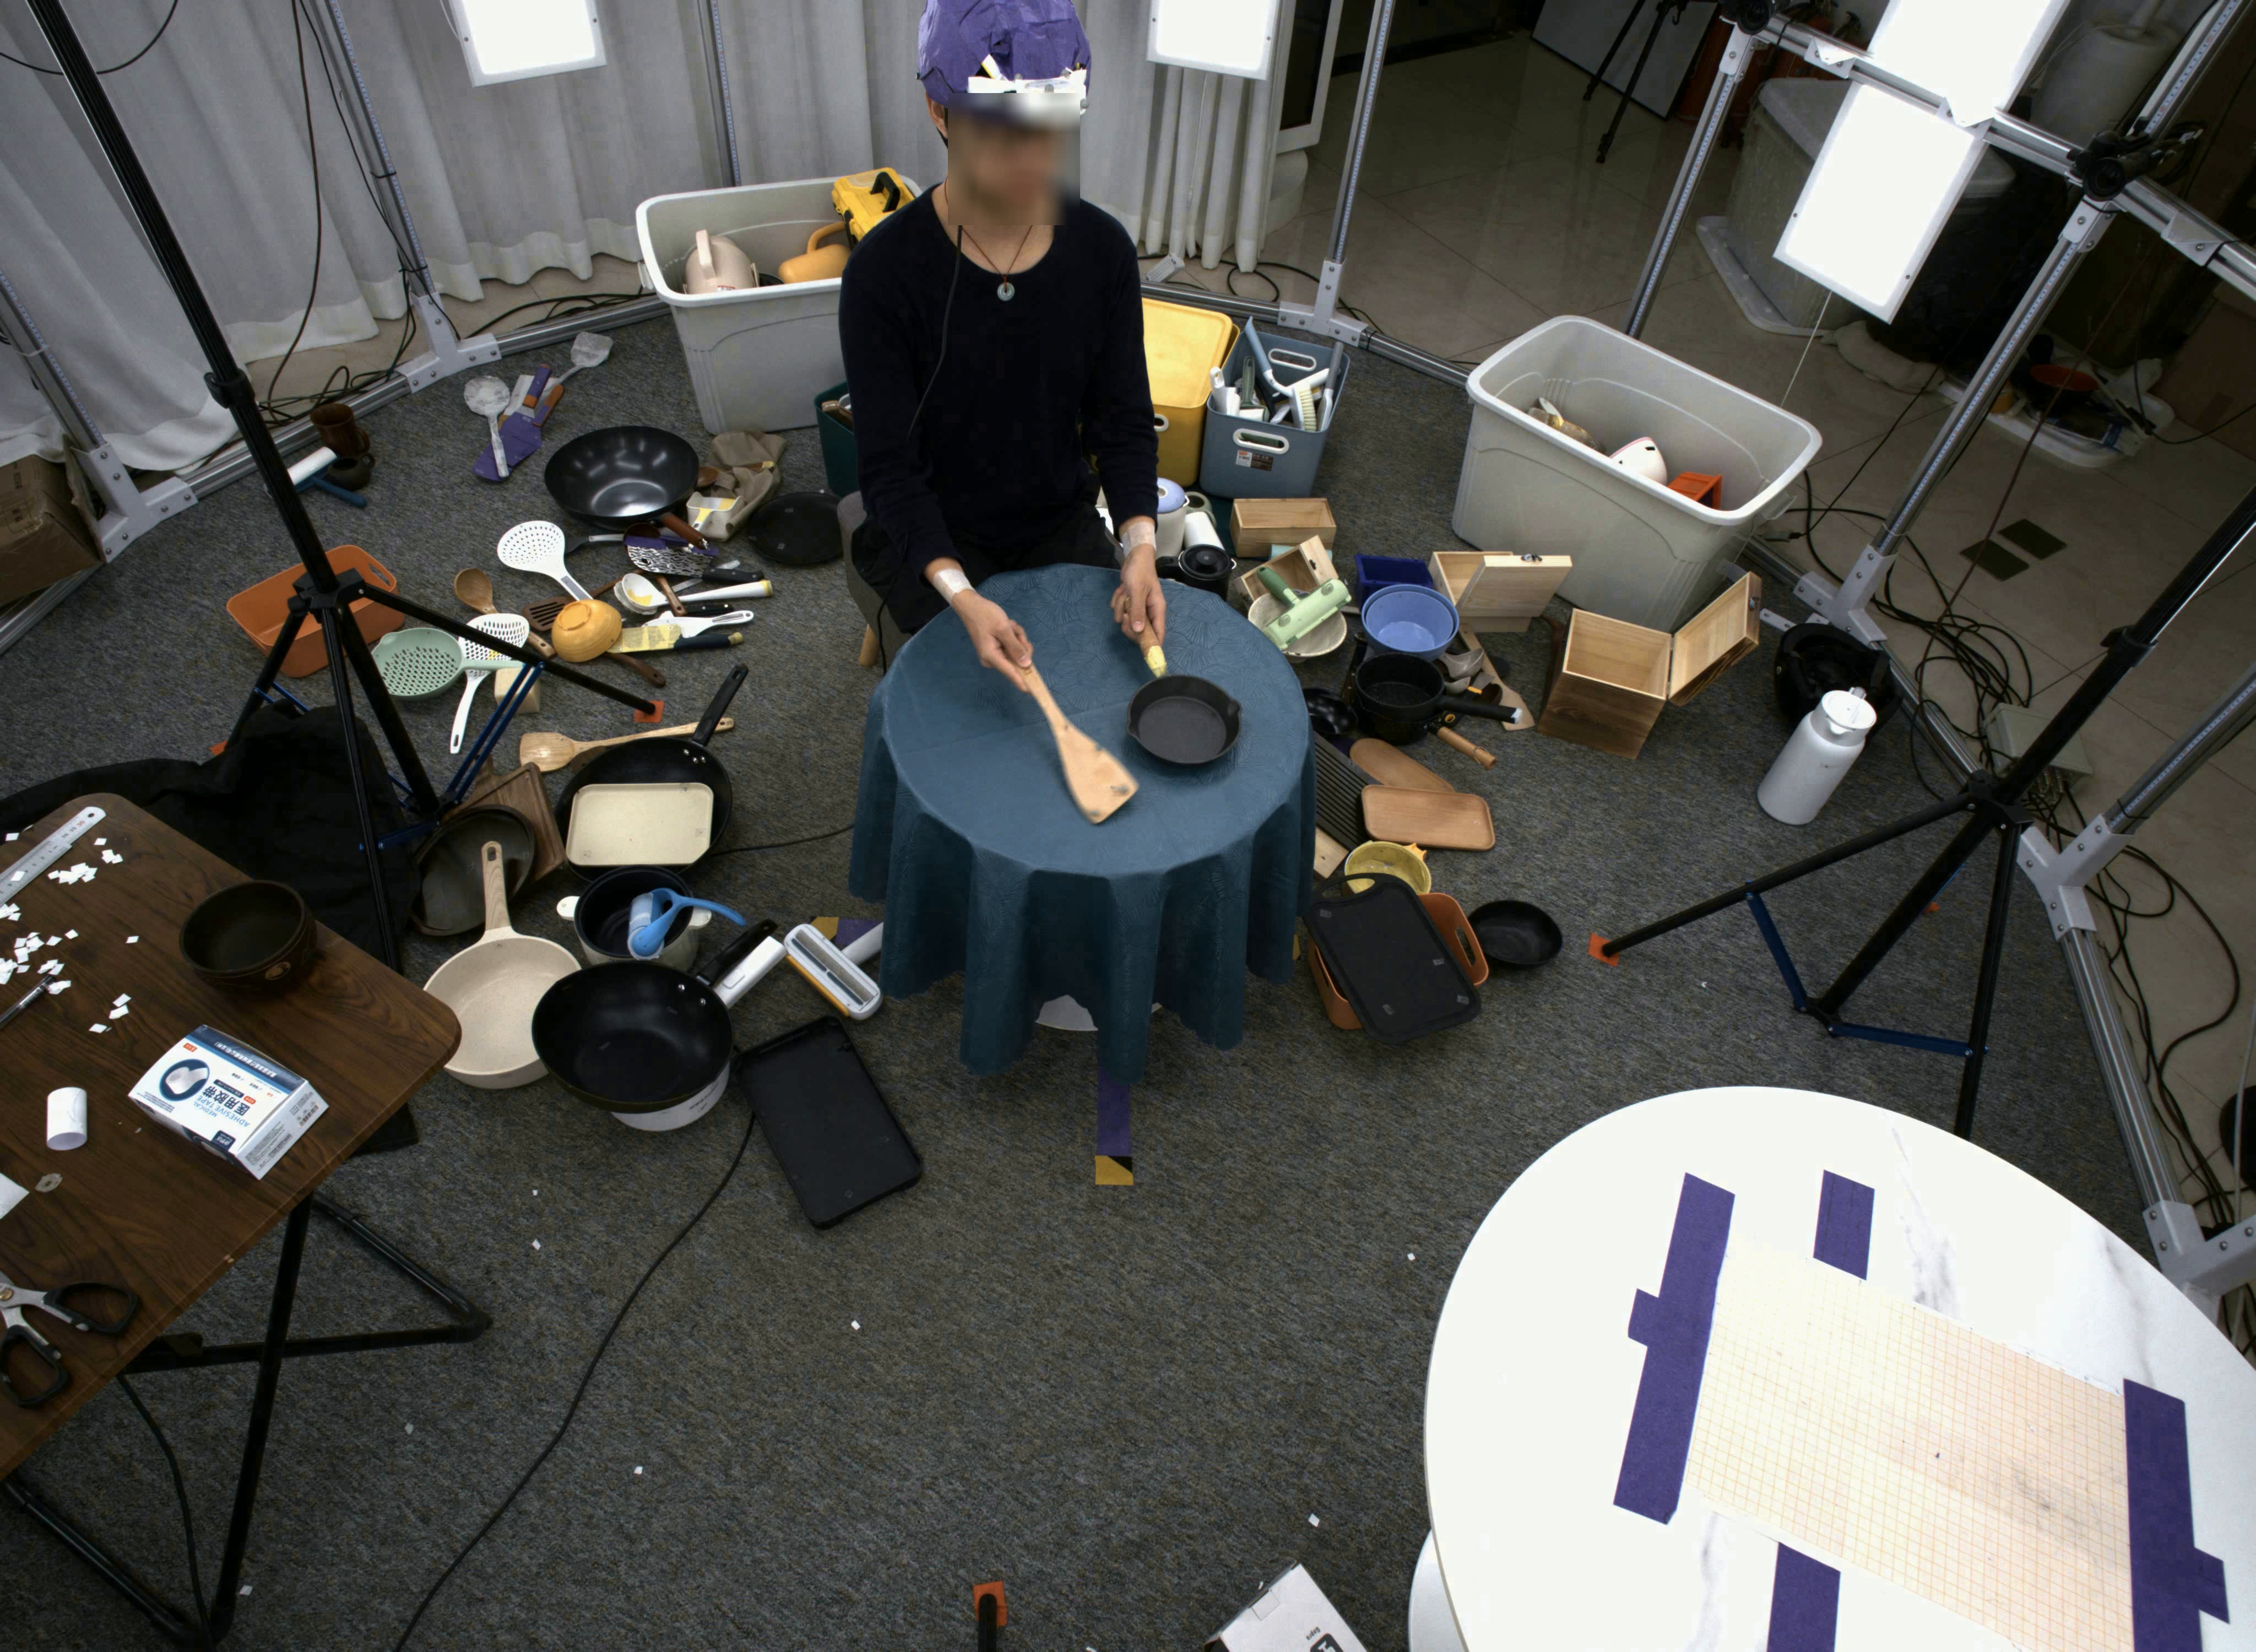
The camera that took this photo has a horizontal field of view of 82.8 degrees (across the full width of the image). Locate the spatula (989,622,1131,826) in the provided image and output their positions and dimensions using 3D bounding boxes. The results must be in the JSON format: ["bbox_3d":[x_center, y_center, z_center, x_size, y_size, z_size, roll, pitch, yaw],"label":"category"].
[{"bbox_3d":[-0.103,-0.147,1.727,0.080,0.016,0.332,-27,72,-14],"label":"spatula"}]

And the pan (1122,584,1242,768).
[{"bbox_3d":[0.051,-0.212,1.809,0.169,0.048,0.331,-12,57,-14],"label":"pan"}]
